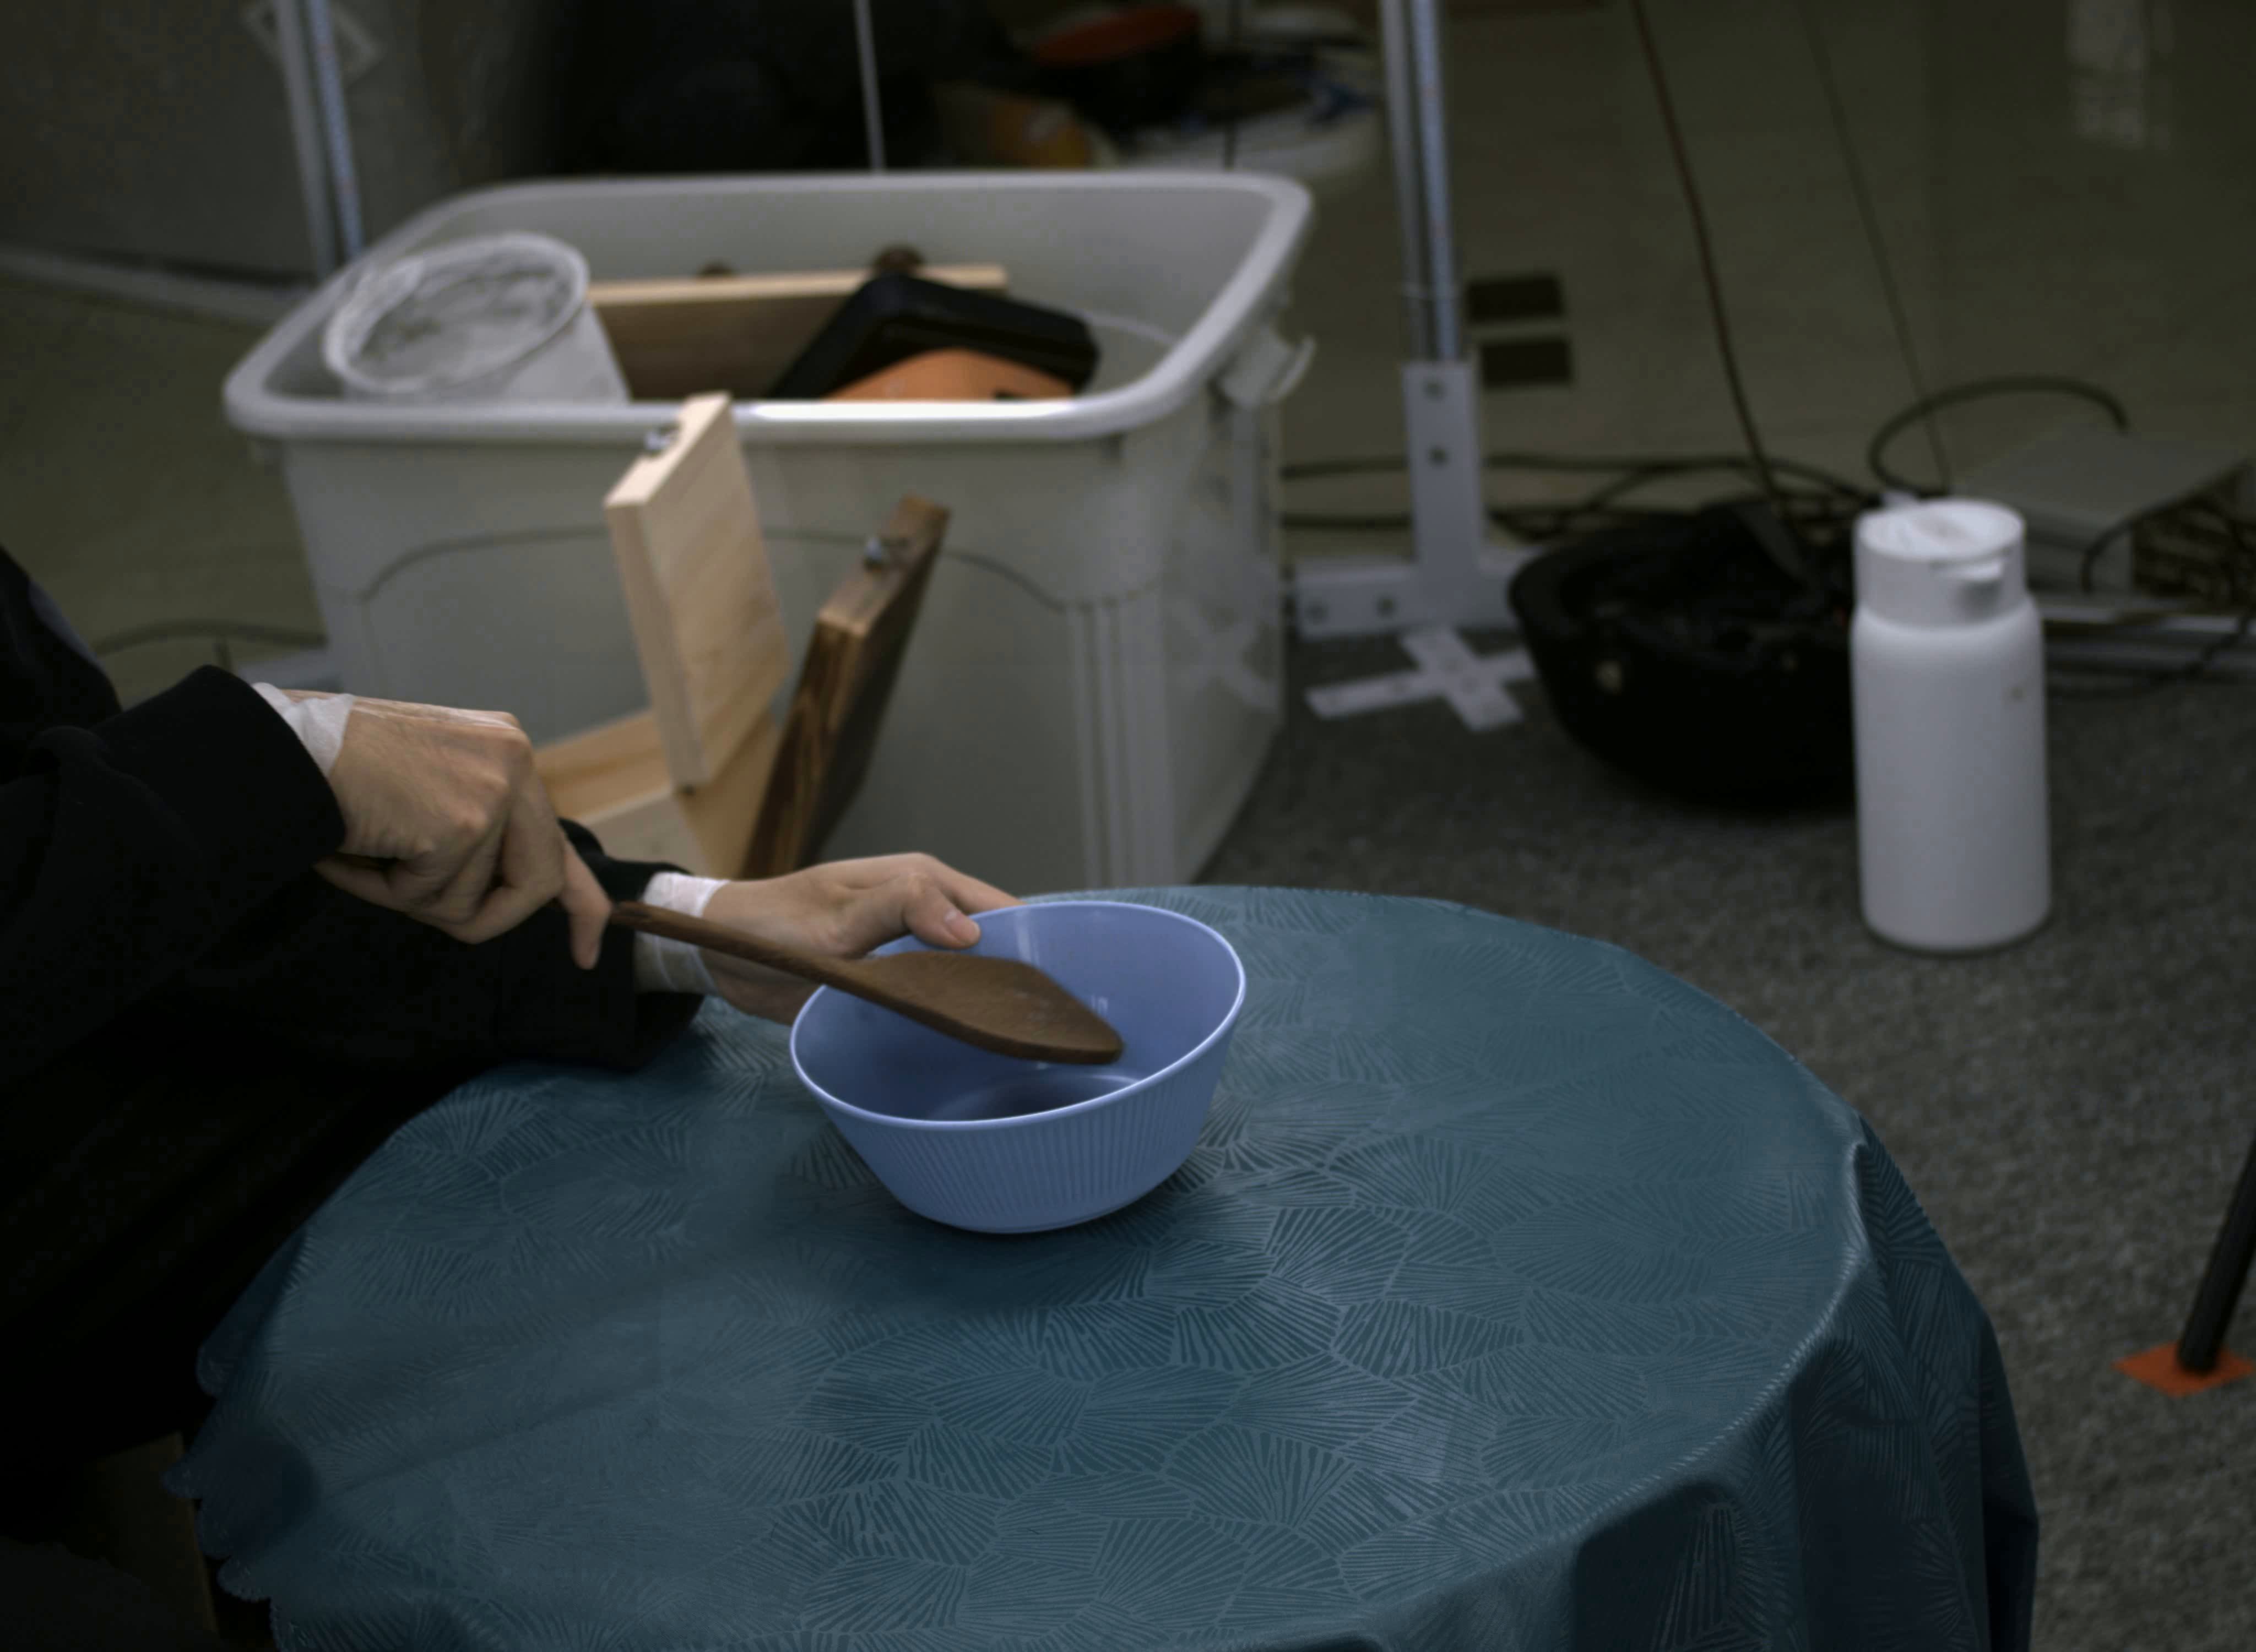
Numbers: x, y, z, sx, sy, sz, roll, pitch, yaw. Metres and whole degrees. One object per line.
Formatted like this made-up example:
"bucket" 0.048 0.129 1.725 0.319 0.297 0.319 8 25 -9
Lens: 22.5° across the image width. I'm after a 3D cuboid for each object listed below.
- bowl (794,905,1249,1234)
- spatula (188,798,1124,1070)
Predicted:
"bowl" -0.035 0.099 2.153 0.176 0.071 0.173 -9 25 4
"spatula" -0.170 0.037 2.081 0.387 0.016 0.095 16 13 -33
